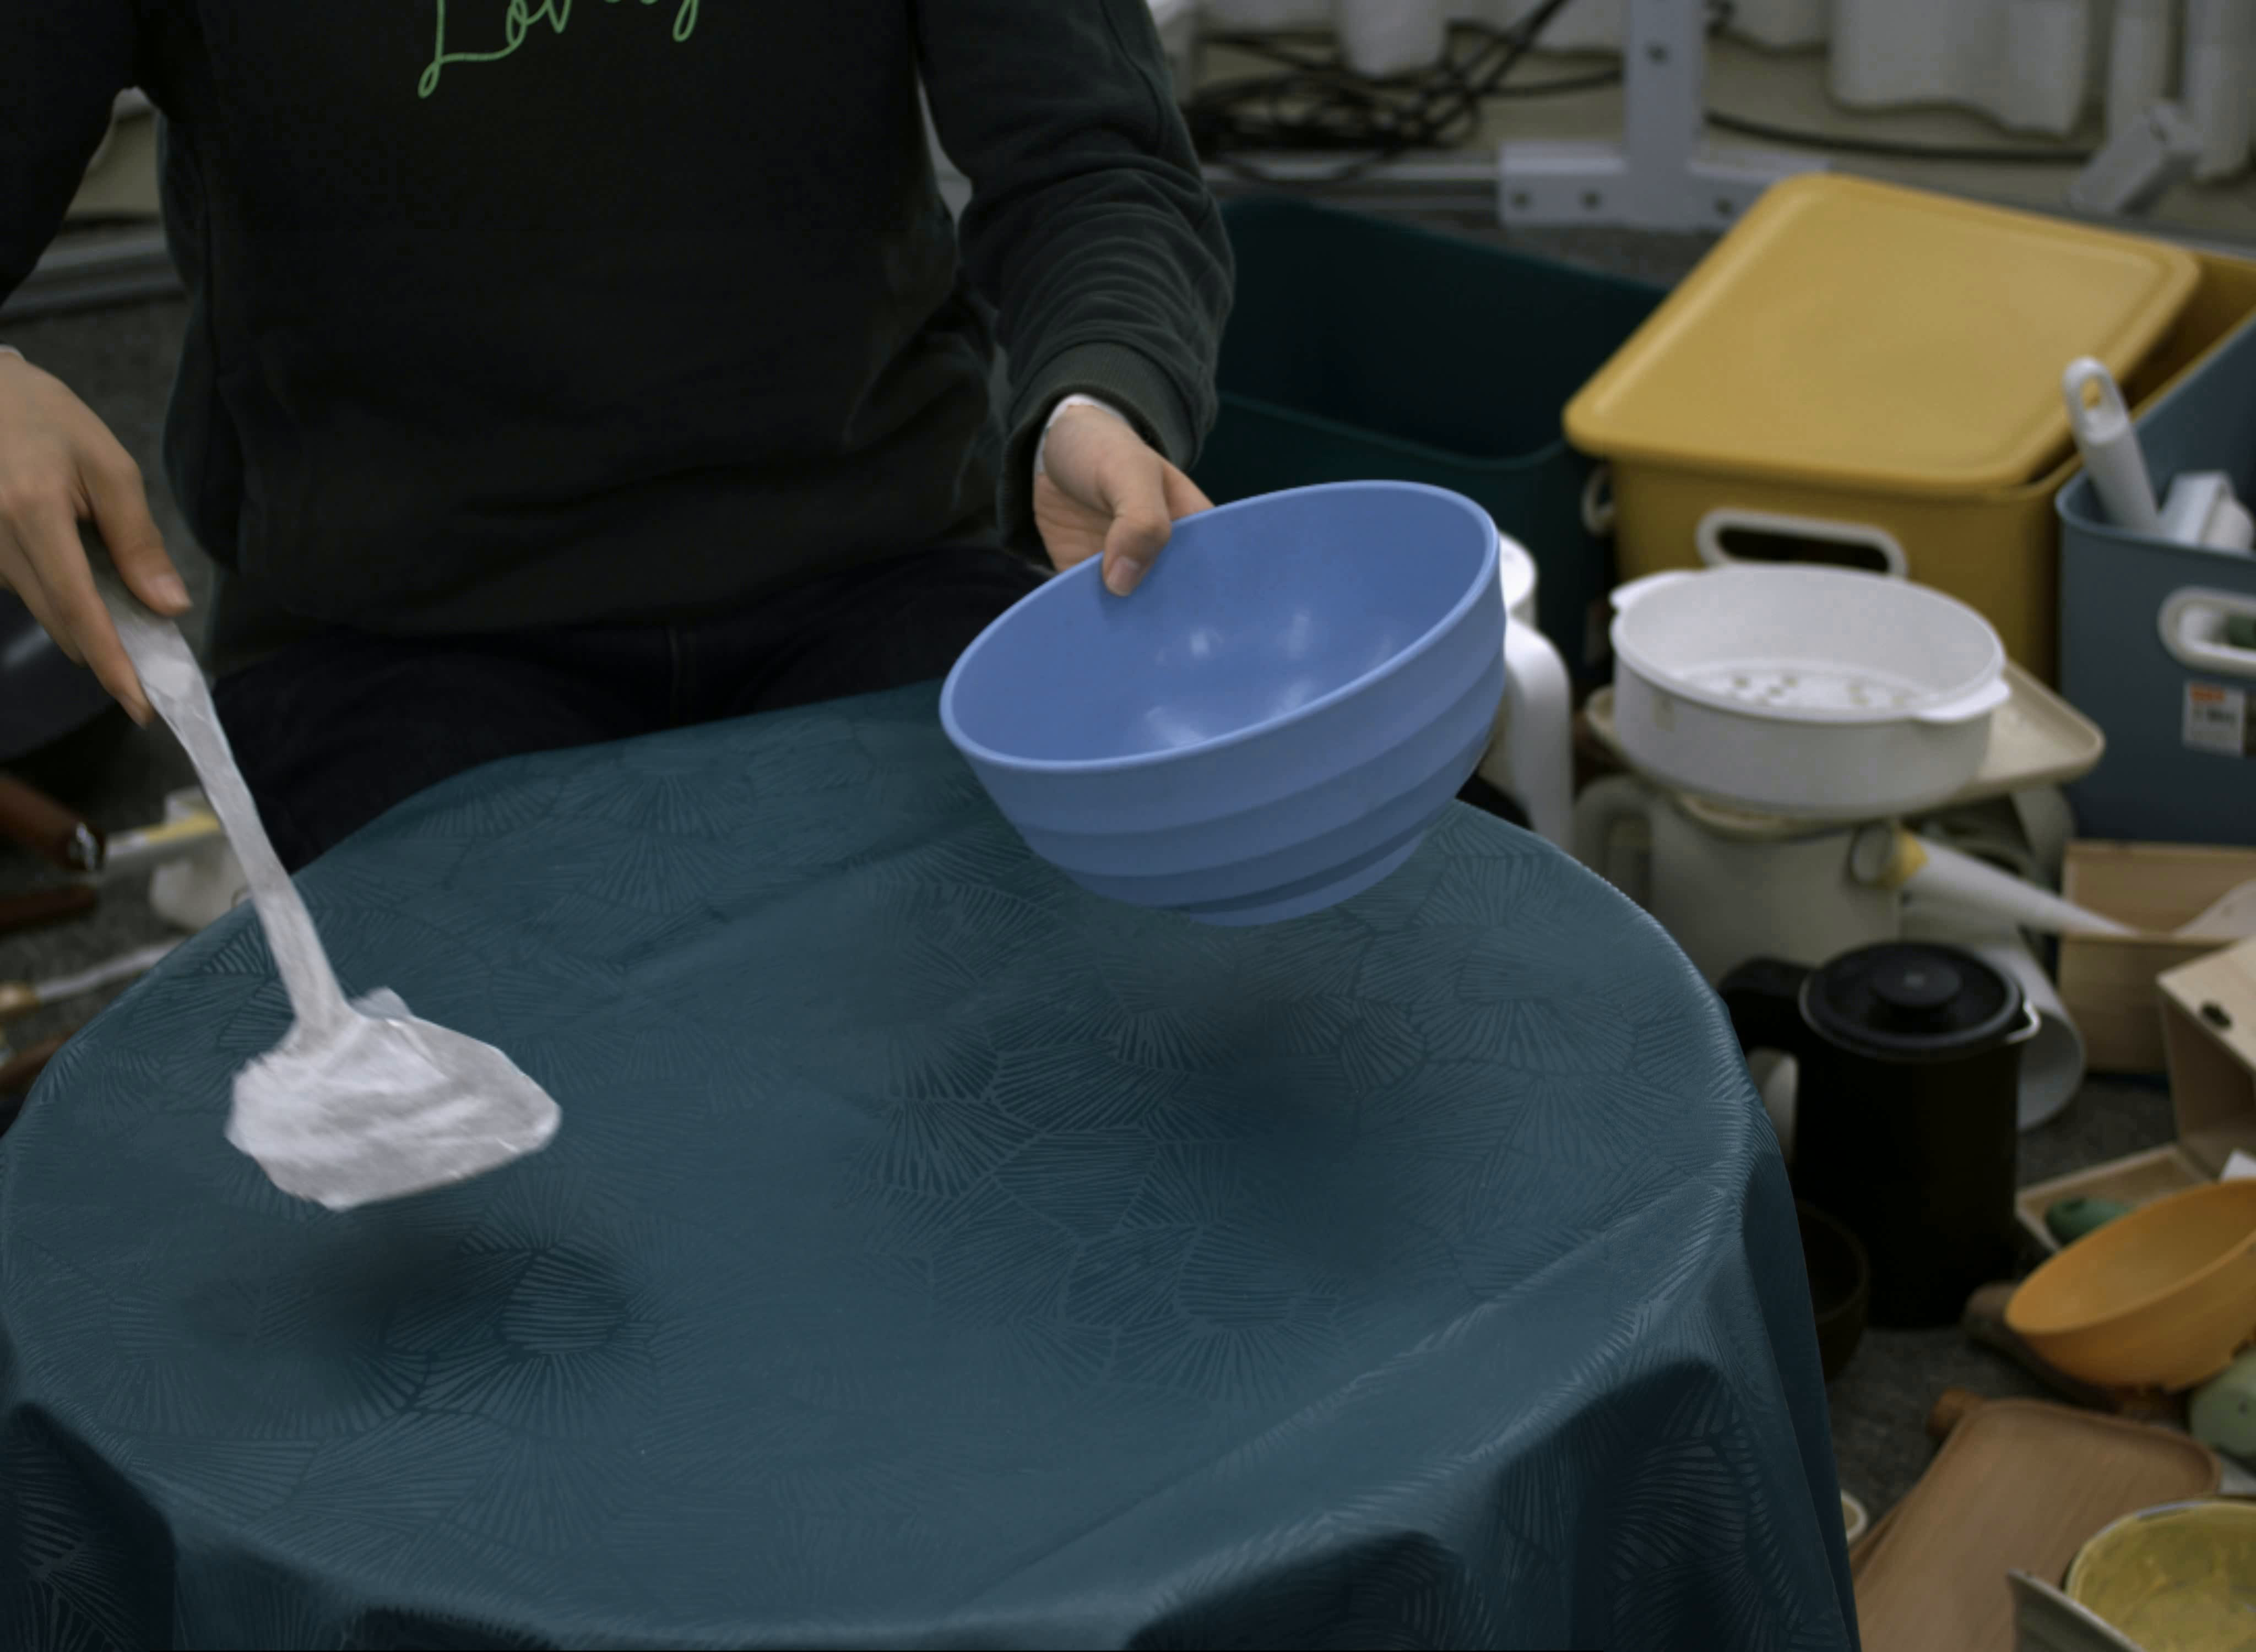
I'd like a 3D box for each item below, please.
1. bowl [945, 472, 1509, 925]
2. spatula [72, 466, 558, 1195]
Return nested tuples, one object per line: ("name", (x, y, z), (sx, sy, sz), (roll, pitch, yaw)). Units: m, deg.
("bowl", (0.045, -0.031, 1.892), (0.195, 0.094, 0.199), (-17, 24, 8))
("spatula", (-0.296, -0.007, 1.891), (0.099, 0.044, 0.369), (-14, 53, -22))
